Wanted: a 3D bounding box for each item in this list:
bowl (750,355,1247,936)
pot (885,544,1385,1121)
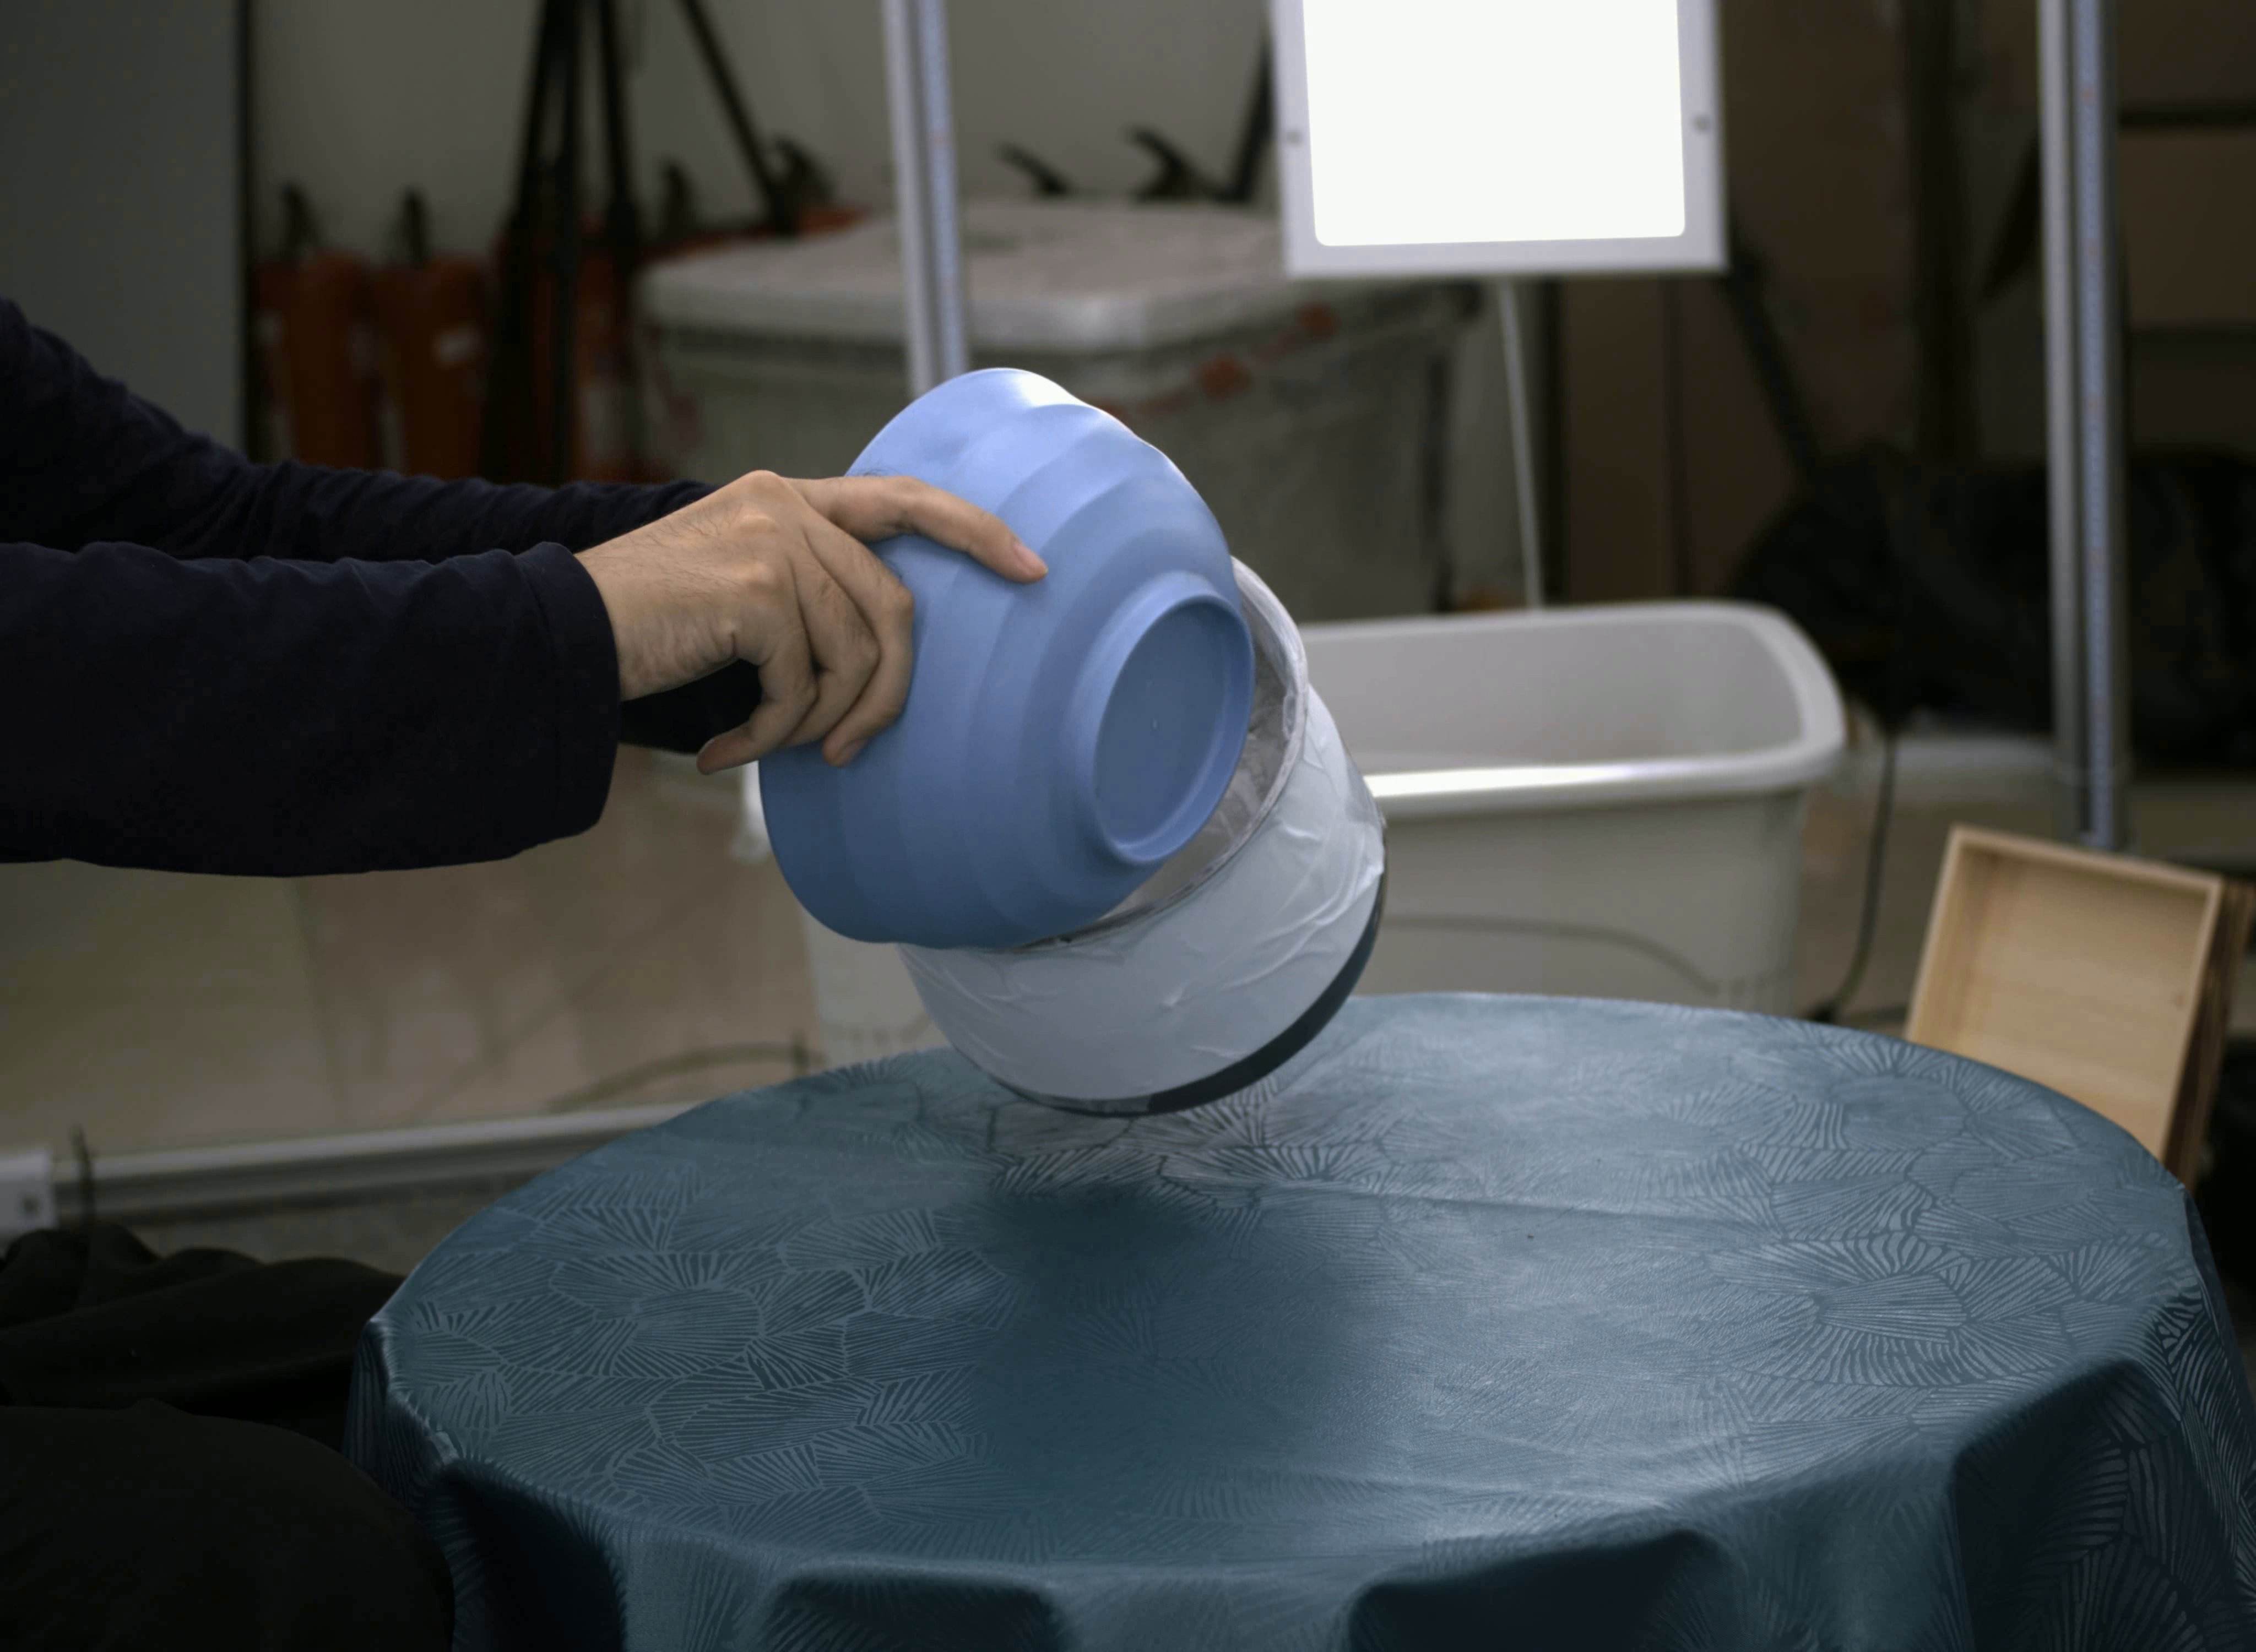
[{"bbox_3d":[-0.025,-0.046,1.791,0.097,0.198,0.191,24,27,31],"label":"bowl"},{"bbox_3d":[-0.019,-0.012,1.944,0.177,0.136,0.236,-36,51,-8],"label":"pot"}]
